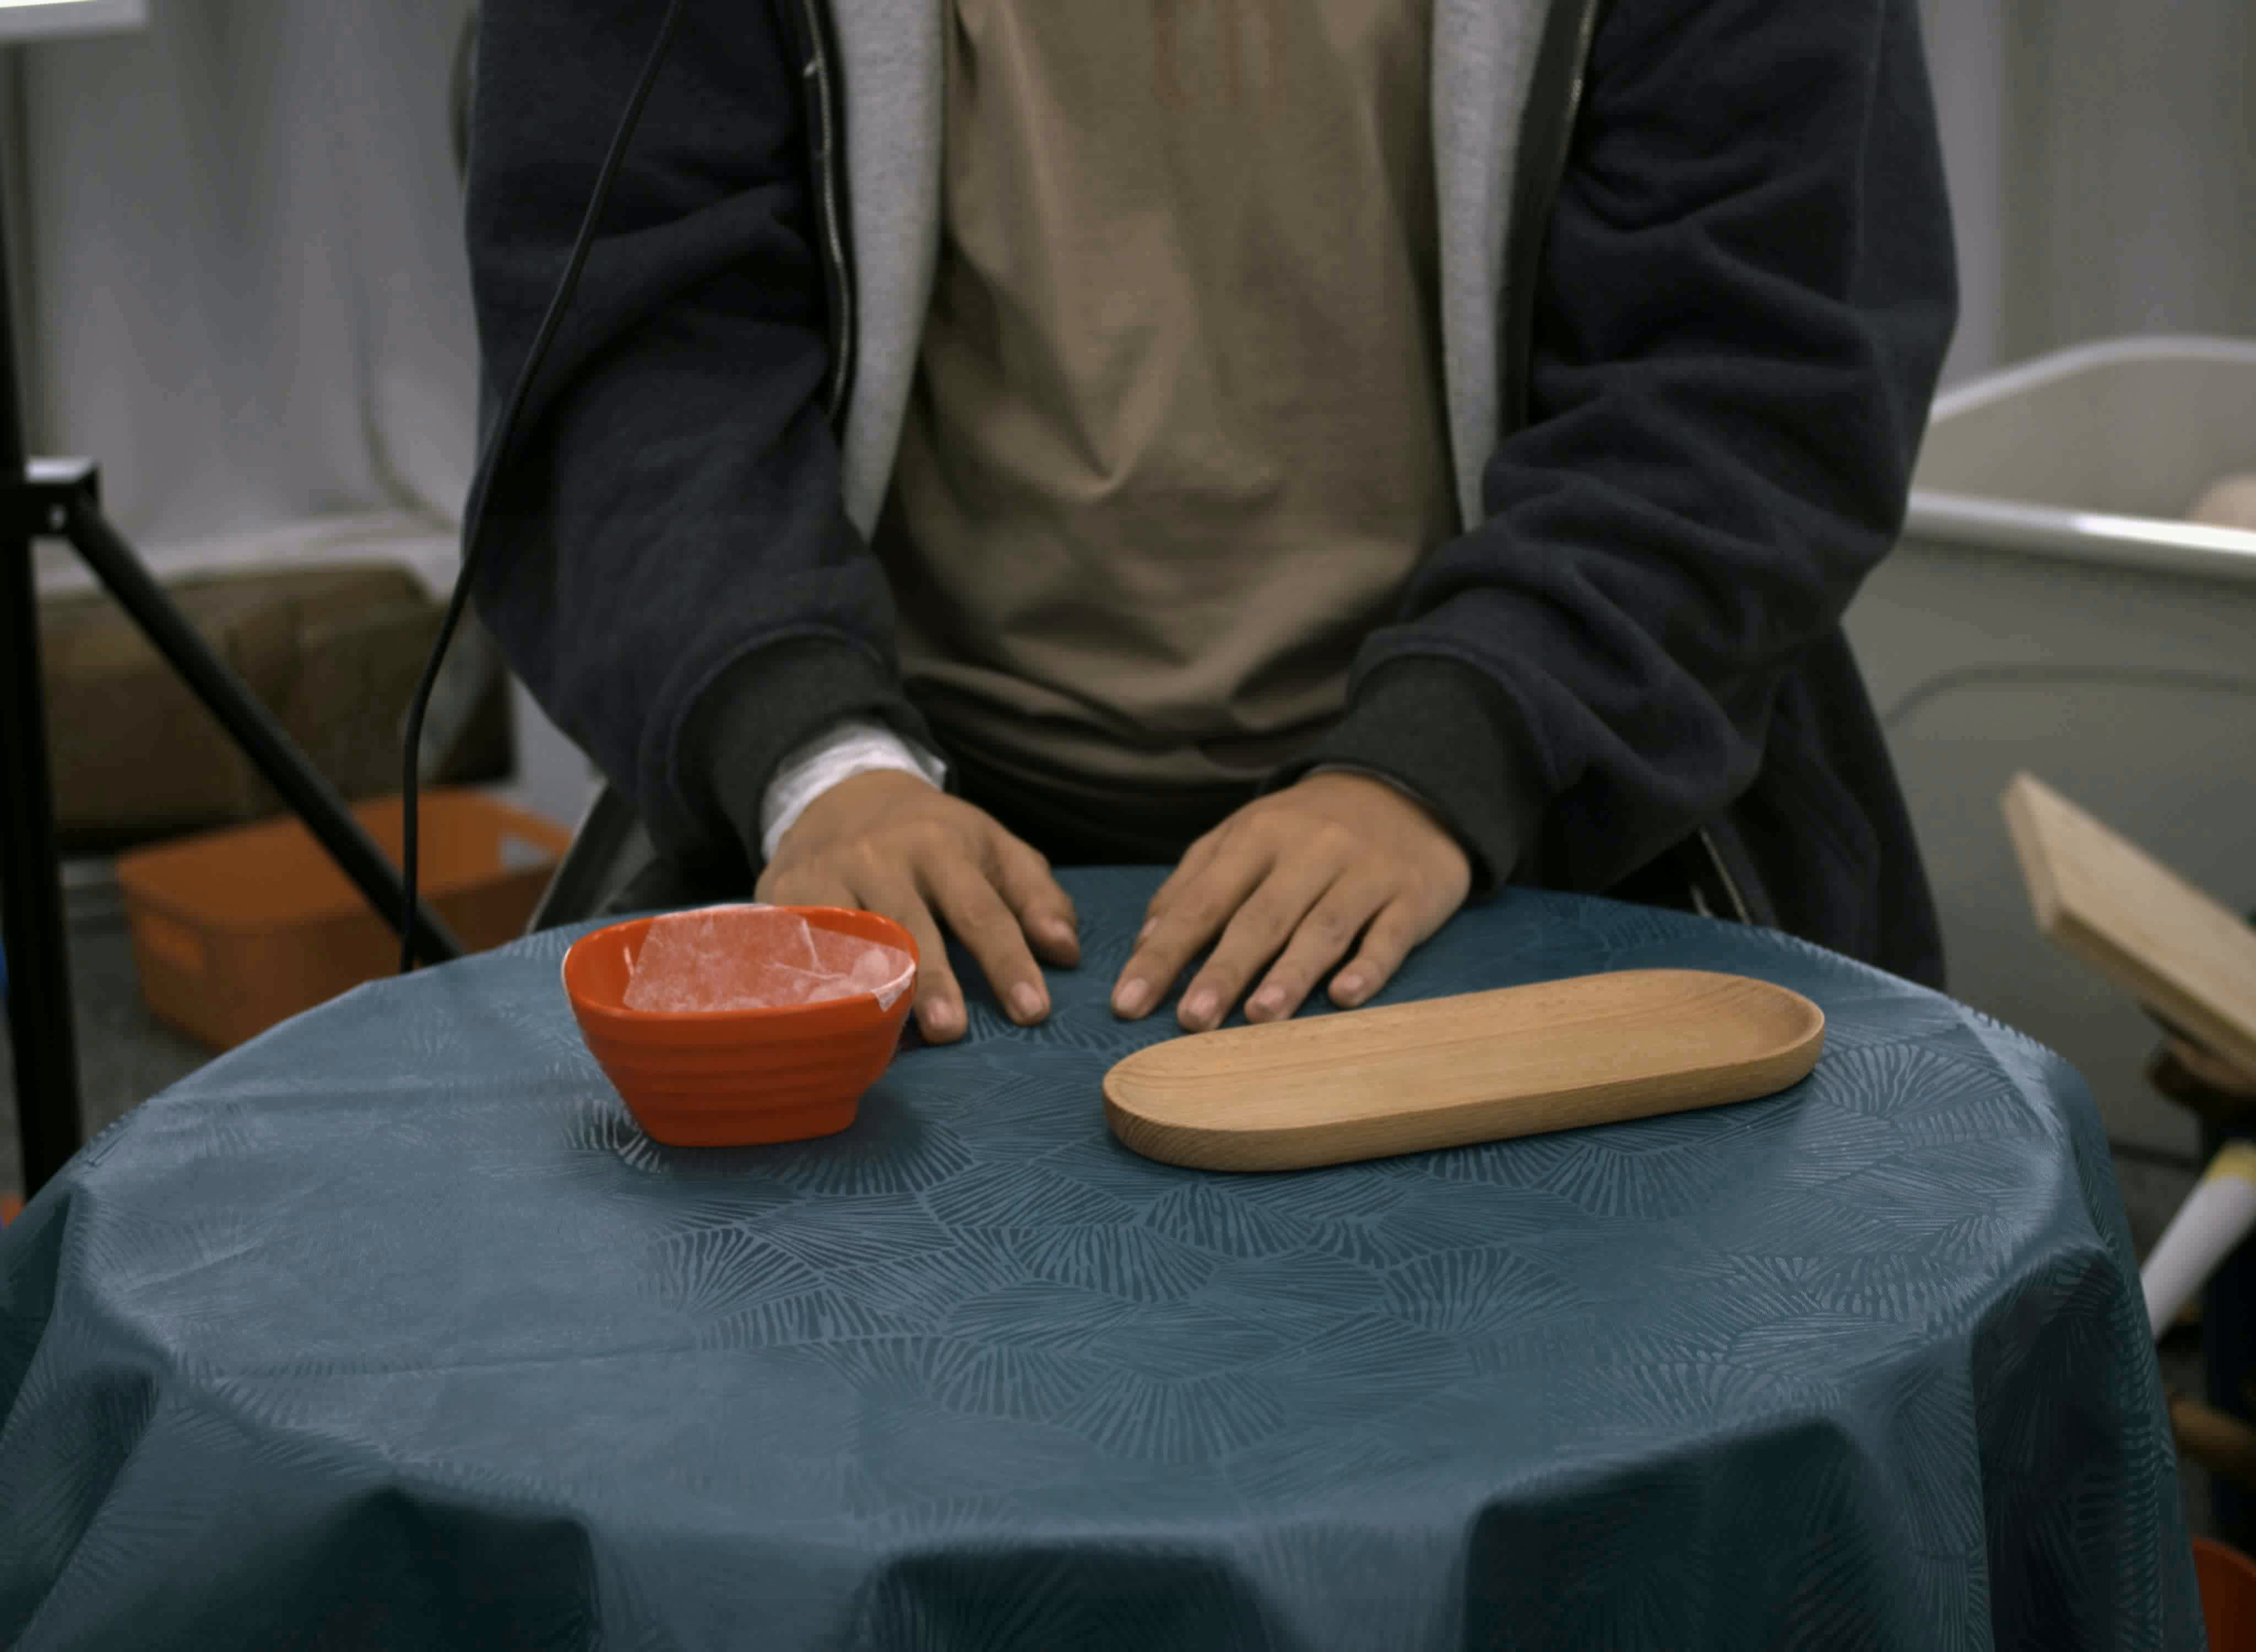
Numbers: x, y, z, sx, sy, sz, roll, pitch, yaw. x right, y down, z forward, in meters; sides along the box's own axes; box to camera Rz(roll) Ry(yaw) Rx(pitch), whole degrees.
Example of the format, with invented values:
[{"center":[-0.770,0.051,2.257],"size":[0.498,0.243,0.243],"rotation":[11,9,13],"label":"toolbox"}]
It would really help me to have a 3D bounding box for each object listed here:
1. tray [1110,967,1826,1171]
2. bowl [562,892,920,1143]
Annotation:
[{"center":[0.106,0.075,1.631],"size":[0.227,0.020,0.103],"rotation":[-7,17,-18],"label":"tray"},{"center":[-0.118,0.061,1.643],"size":[0.118,0.051,0.119],"rotation":[-3,18,0],"label":"bowl"}]
